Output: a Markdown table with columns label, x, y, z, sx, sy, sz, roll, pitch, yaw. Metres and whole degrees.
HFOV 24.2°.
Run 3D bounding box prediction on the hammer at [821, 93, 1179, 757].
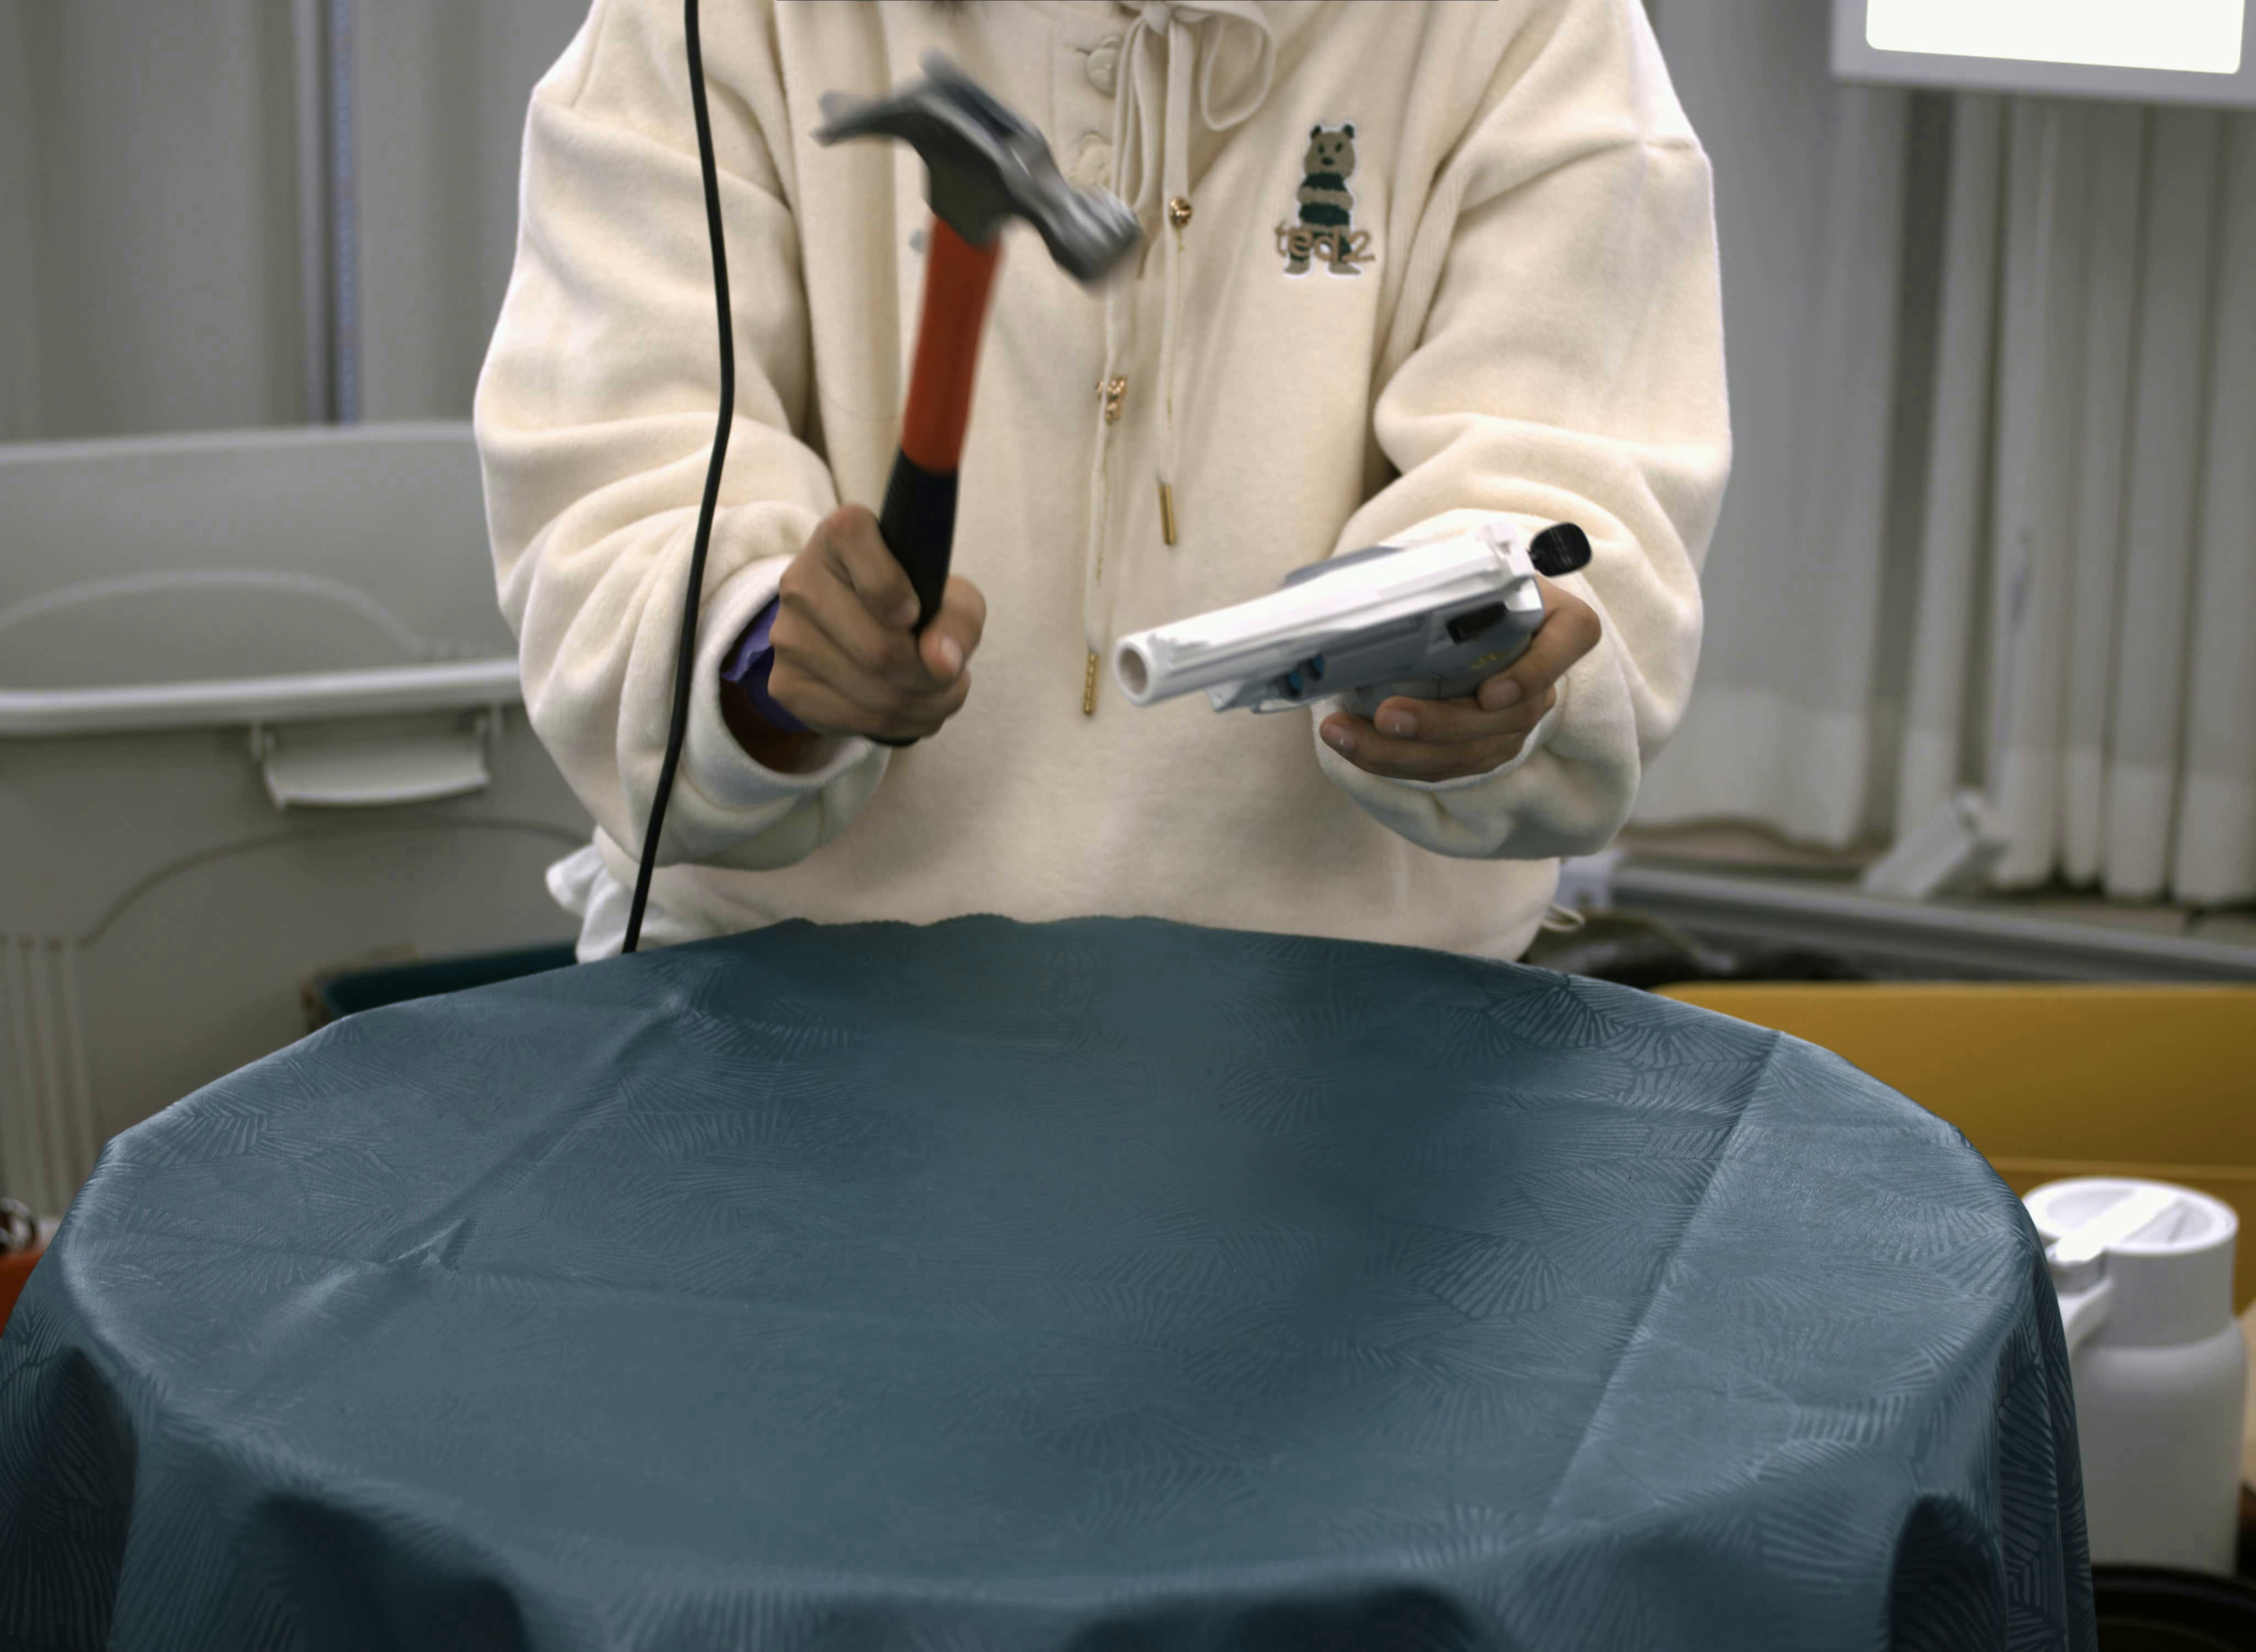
| label | x | y | z | sx | sy | sz | roll | pitch | yaw |
| --- | --- | --- | --- | --- | --- | --- | --- | --- | --- |
| hammer | -0.058 | -0.117 | 1.633 | 0.110 | 0.279 | 0.026 | 33 | 53 | 13 |

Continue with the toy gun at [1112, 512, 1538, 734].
| label | x | y | z | sx | sy | sz | roll | pitch | yaw |
| --- | --- | --- | --- | --- | --- | --- | --- | --- | --- |
| toy gun | 0.056 | -0.054 | 1.565 | 0.210 | 0.039 | 0.141 | -14 | -11 | -37 |
